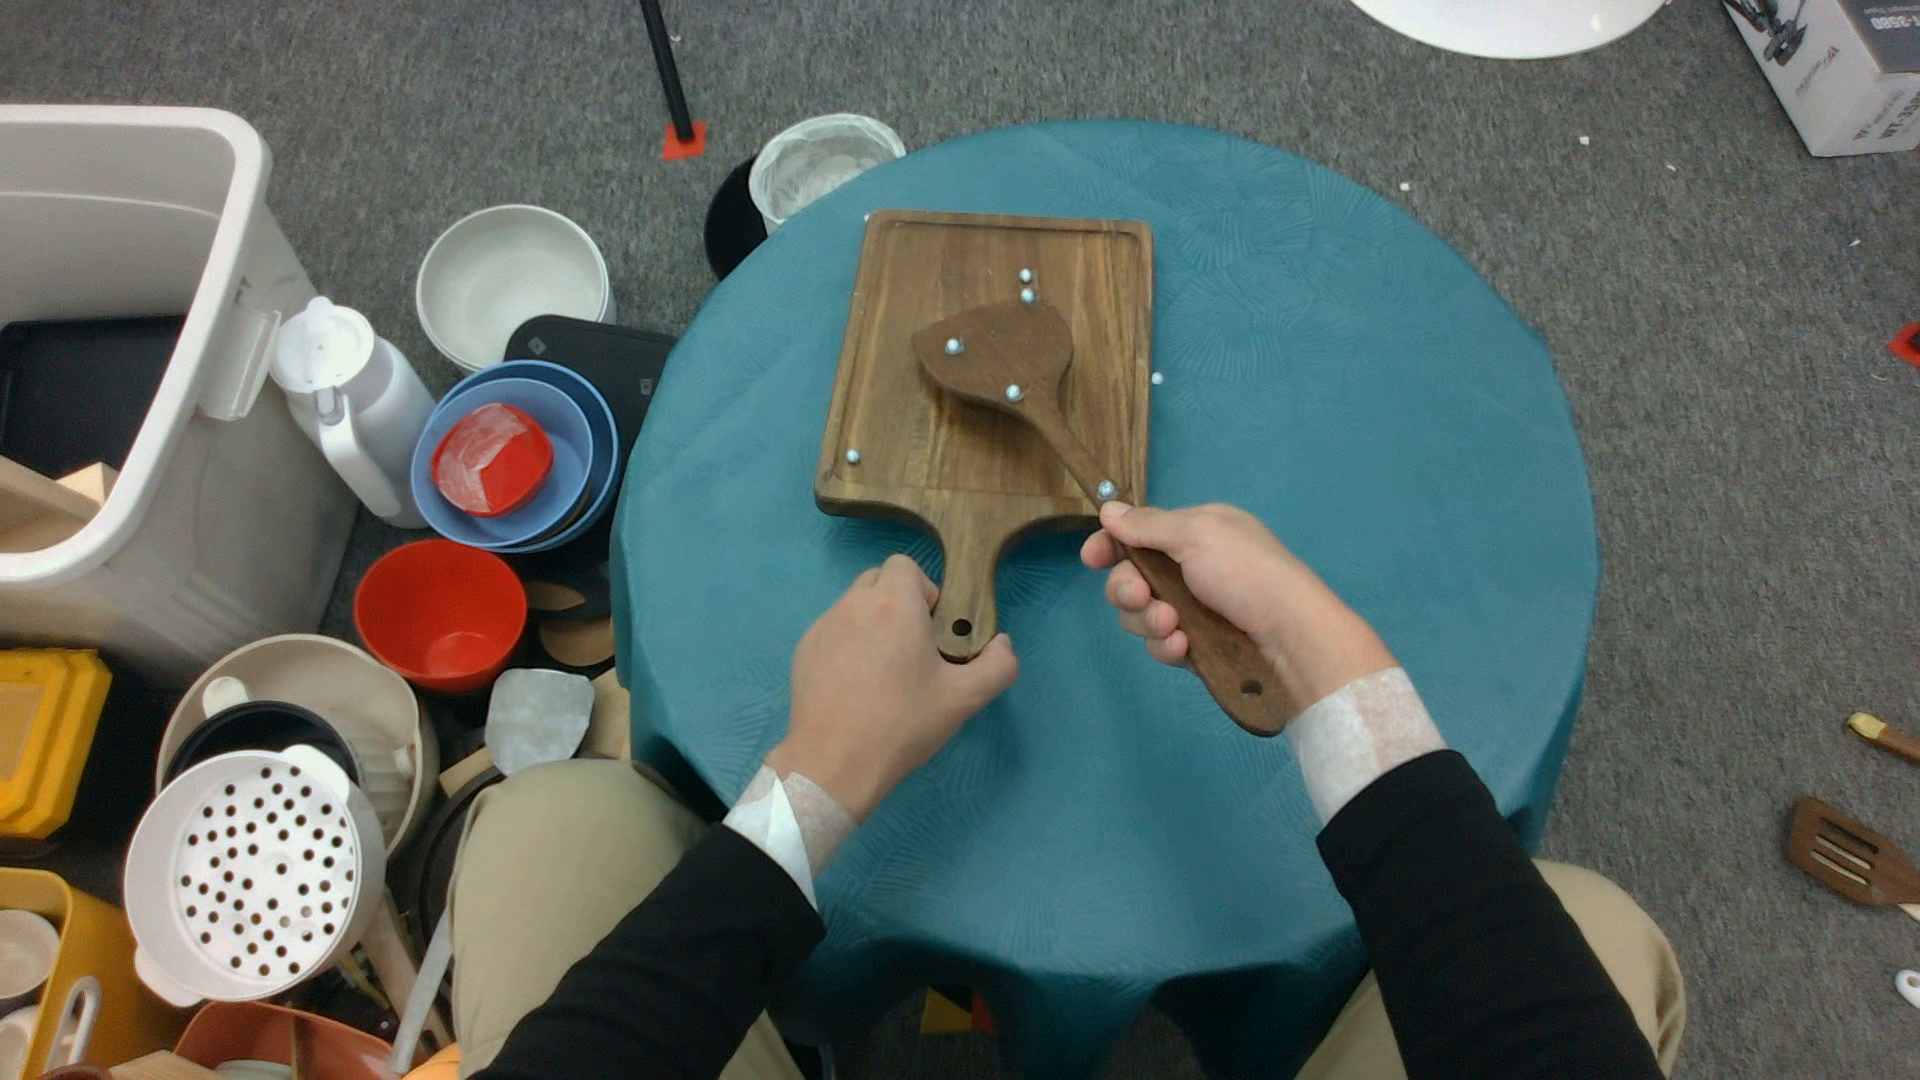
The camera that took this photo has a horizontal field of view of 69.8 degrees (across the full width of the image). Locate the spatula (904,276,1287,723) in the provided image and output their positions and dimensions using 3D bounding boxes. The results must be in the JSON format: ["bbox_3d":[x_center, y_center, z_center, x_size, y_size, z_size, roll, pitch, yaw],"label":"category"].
[{"bbox_3d":[0.069,-0.041,0.728,0.096,0.016,0.387,-18,42,-10],"label":"spatula"}]

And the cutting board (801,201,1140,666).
[{"bbox_3d":[0.009,-0.081,0.842,0.201,0.023,0.354,3,55,3],"label":"cutting board"}]
